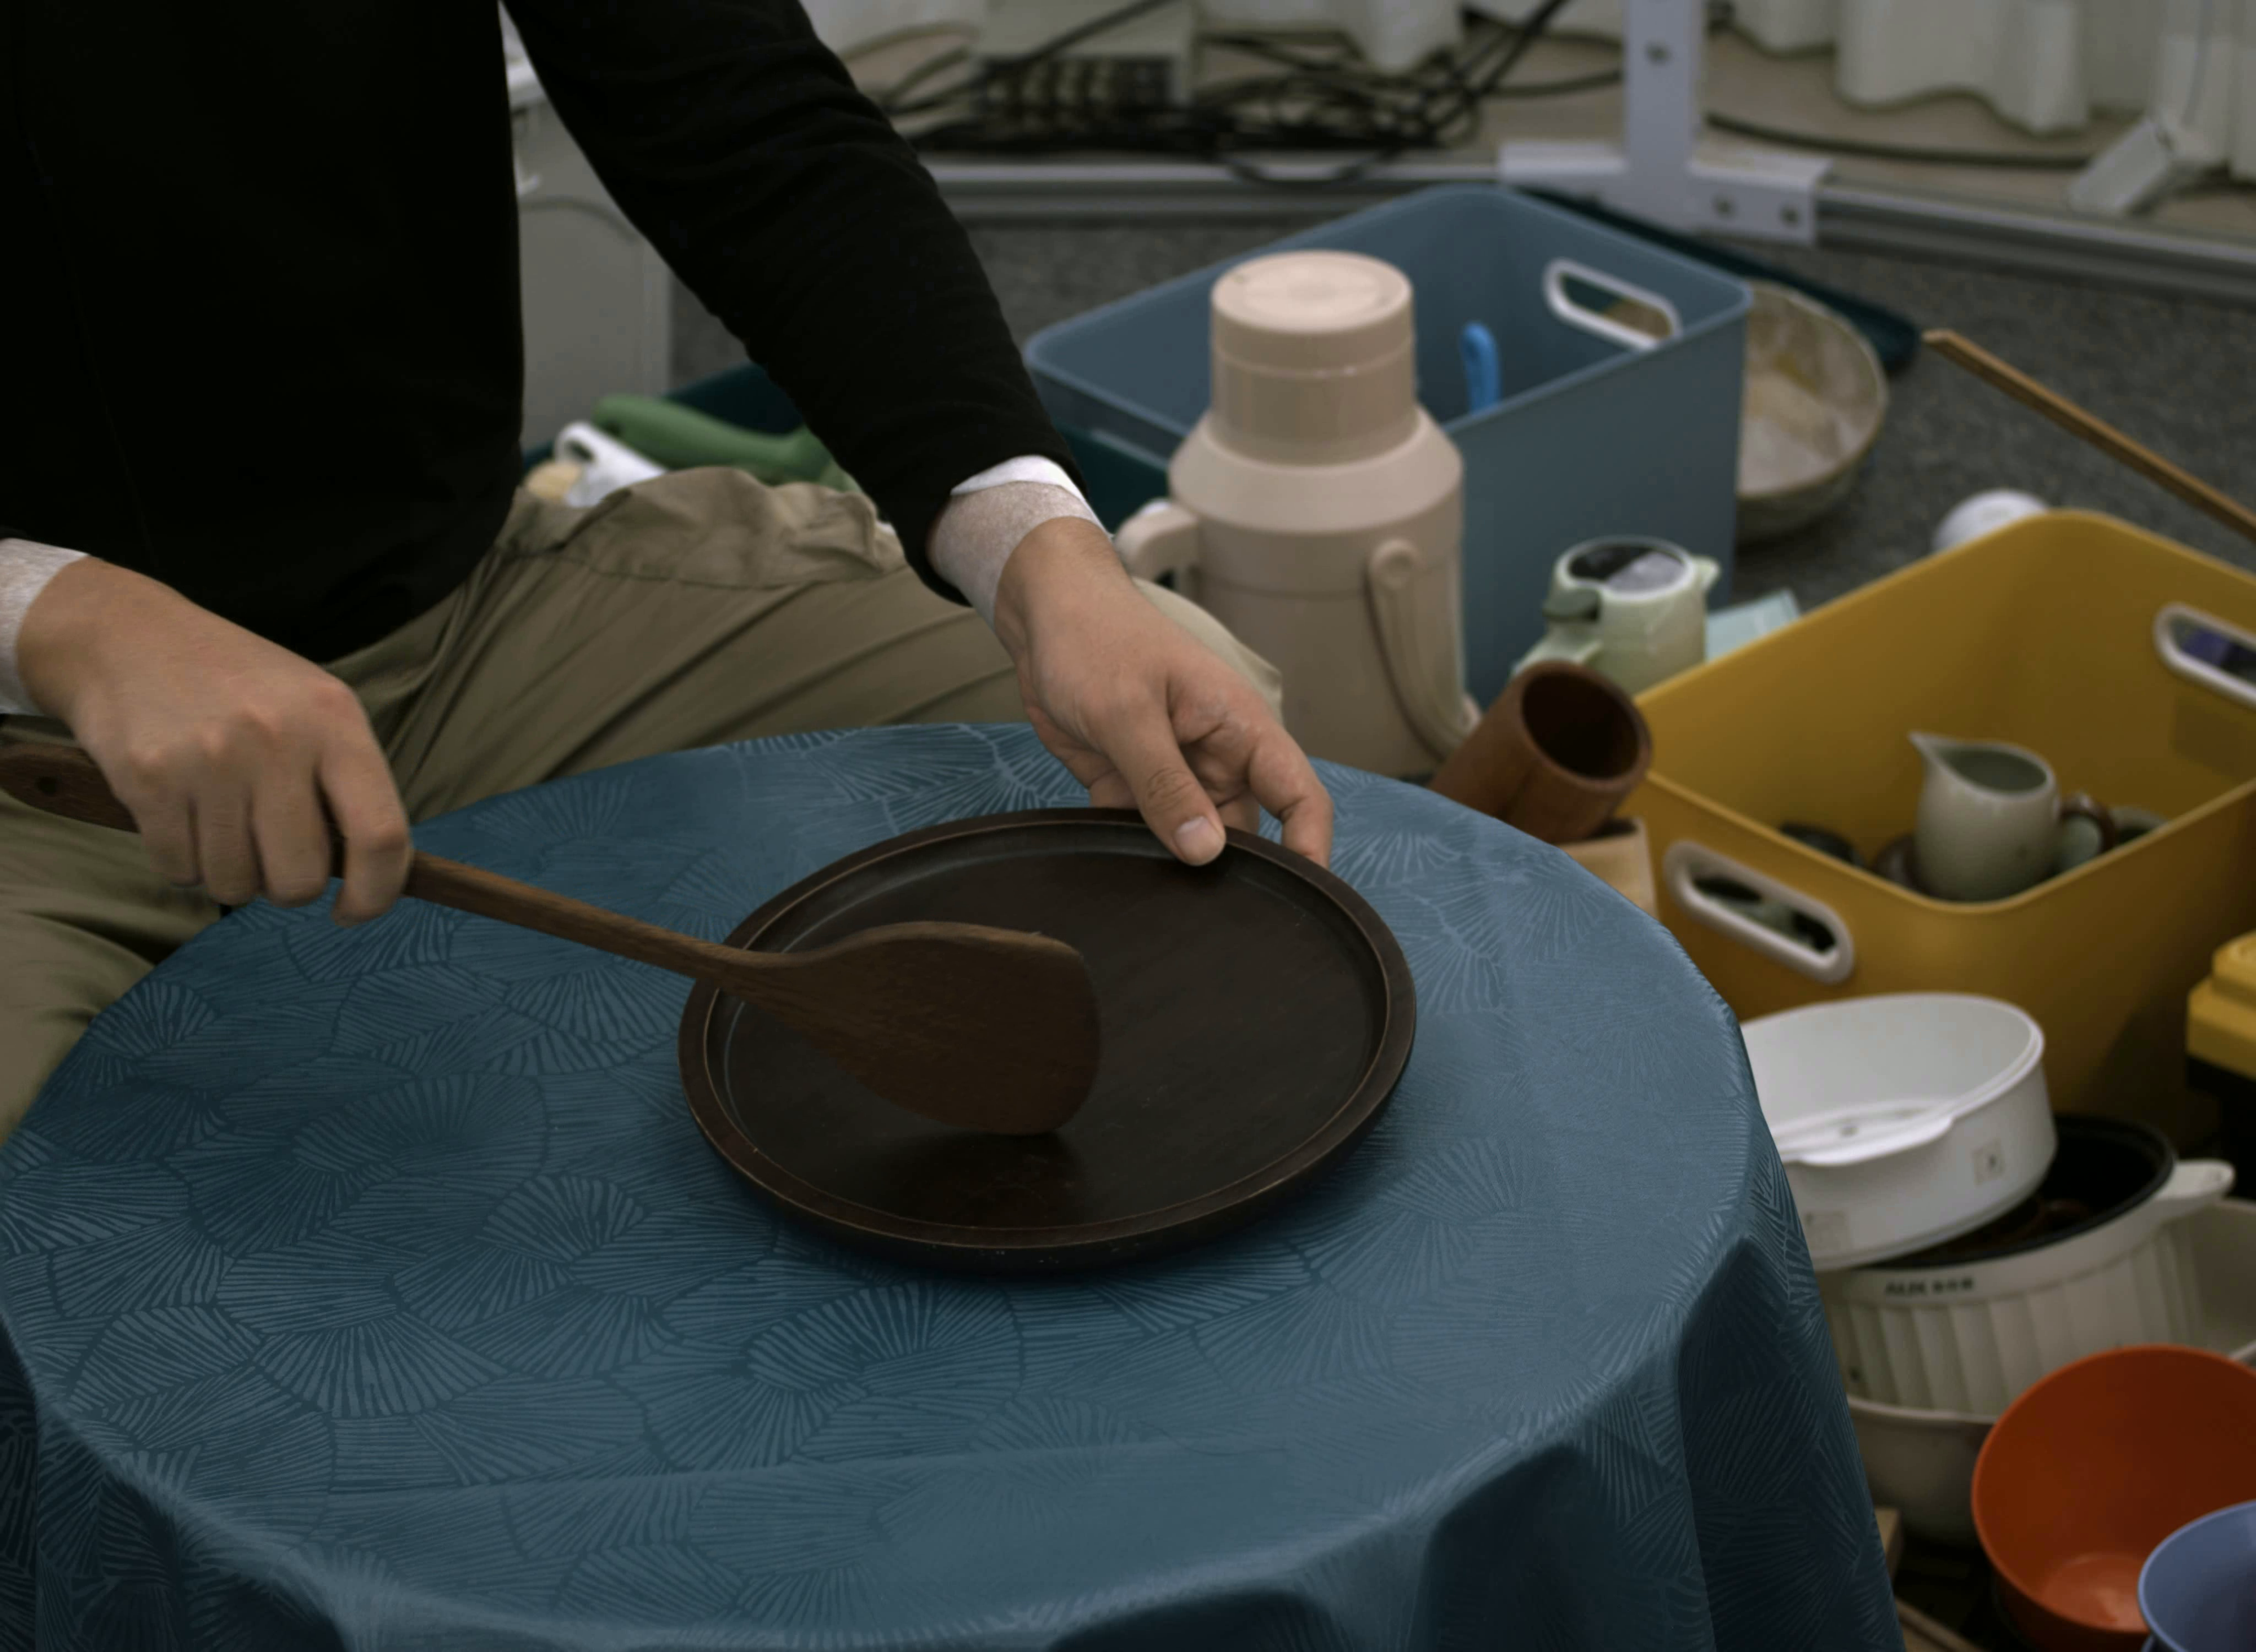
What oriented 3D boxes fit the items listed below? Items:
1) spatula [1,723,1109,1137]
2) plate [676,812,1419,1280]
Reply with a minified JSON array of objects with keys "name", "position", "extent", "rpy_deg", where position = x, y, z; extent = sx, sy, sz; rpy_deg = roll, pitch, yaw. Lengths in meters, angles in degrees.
[{"name":"spatula","position":[-0.191,0.025,1.852],"extent":[0.384,0.094,0.016],"rpy_deg":[16,43,8]},{"name":"plate","position":[-0.027,0.072,1.907],"extent":[0.253,0.028,0.259],"rpy_deg":[-3,35,2]}]
